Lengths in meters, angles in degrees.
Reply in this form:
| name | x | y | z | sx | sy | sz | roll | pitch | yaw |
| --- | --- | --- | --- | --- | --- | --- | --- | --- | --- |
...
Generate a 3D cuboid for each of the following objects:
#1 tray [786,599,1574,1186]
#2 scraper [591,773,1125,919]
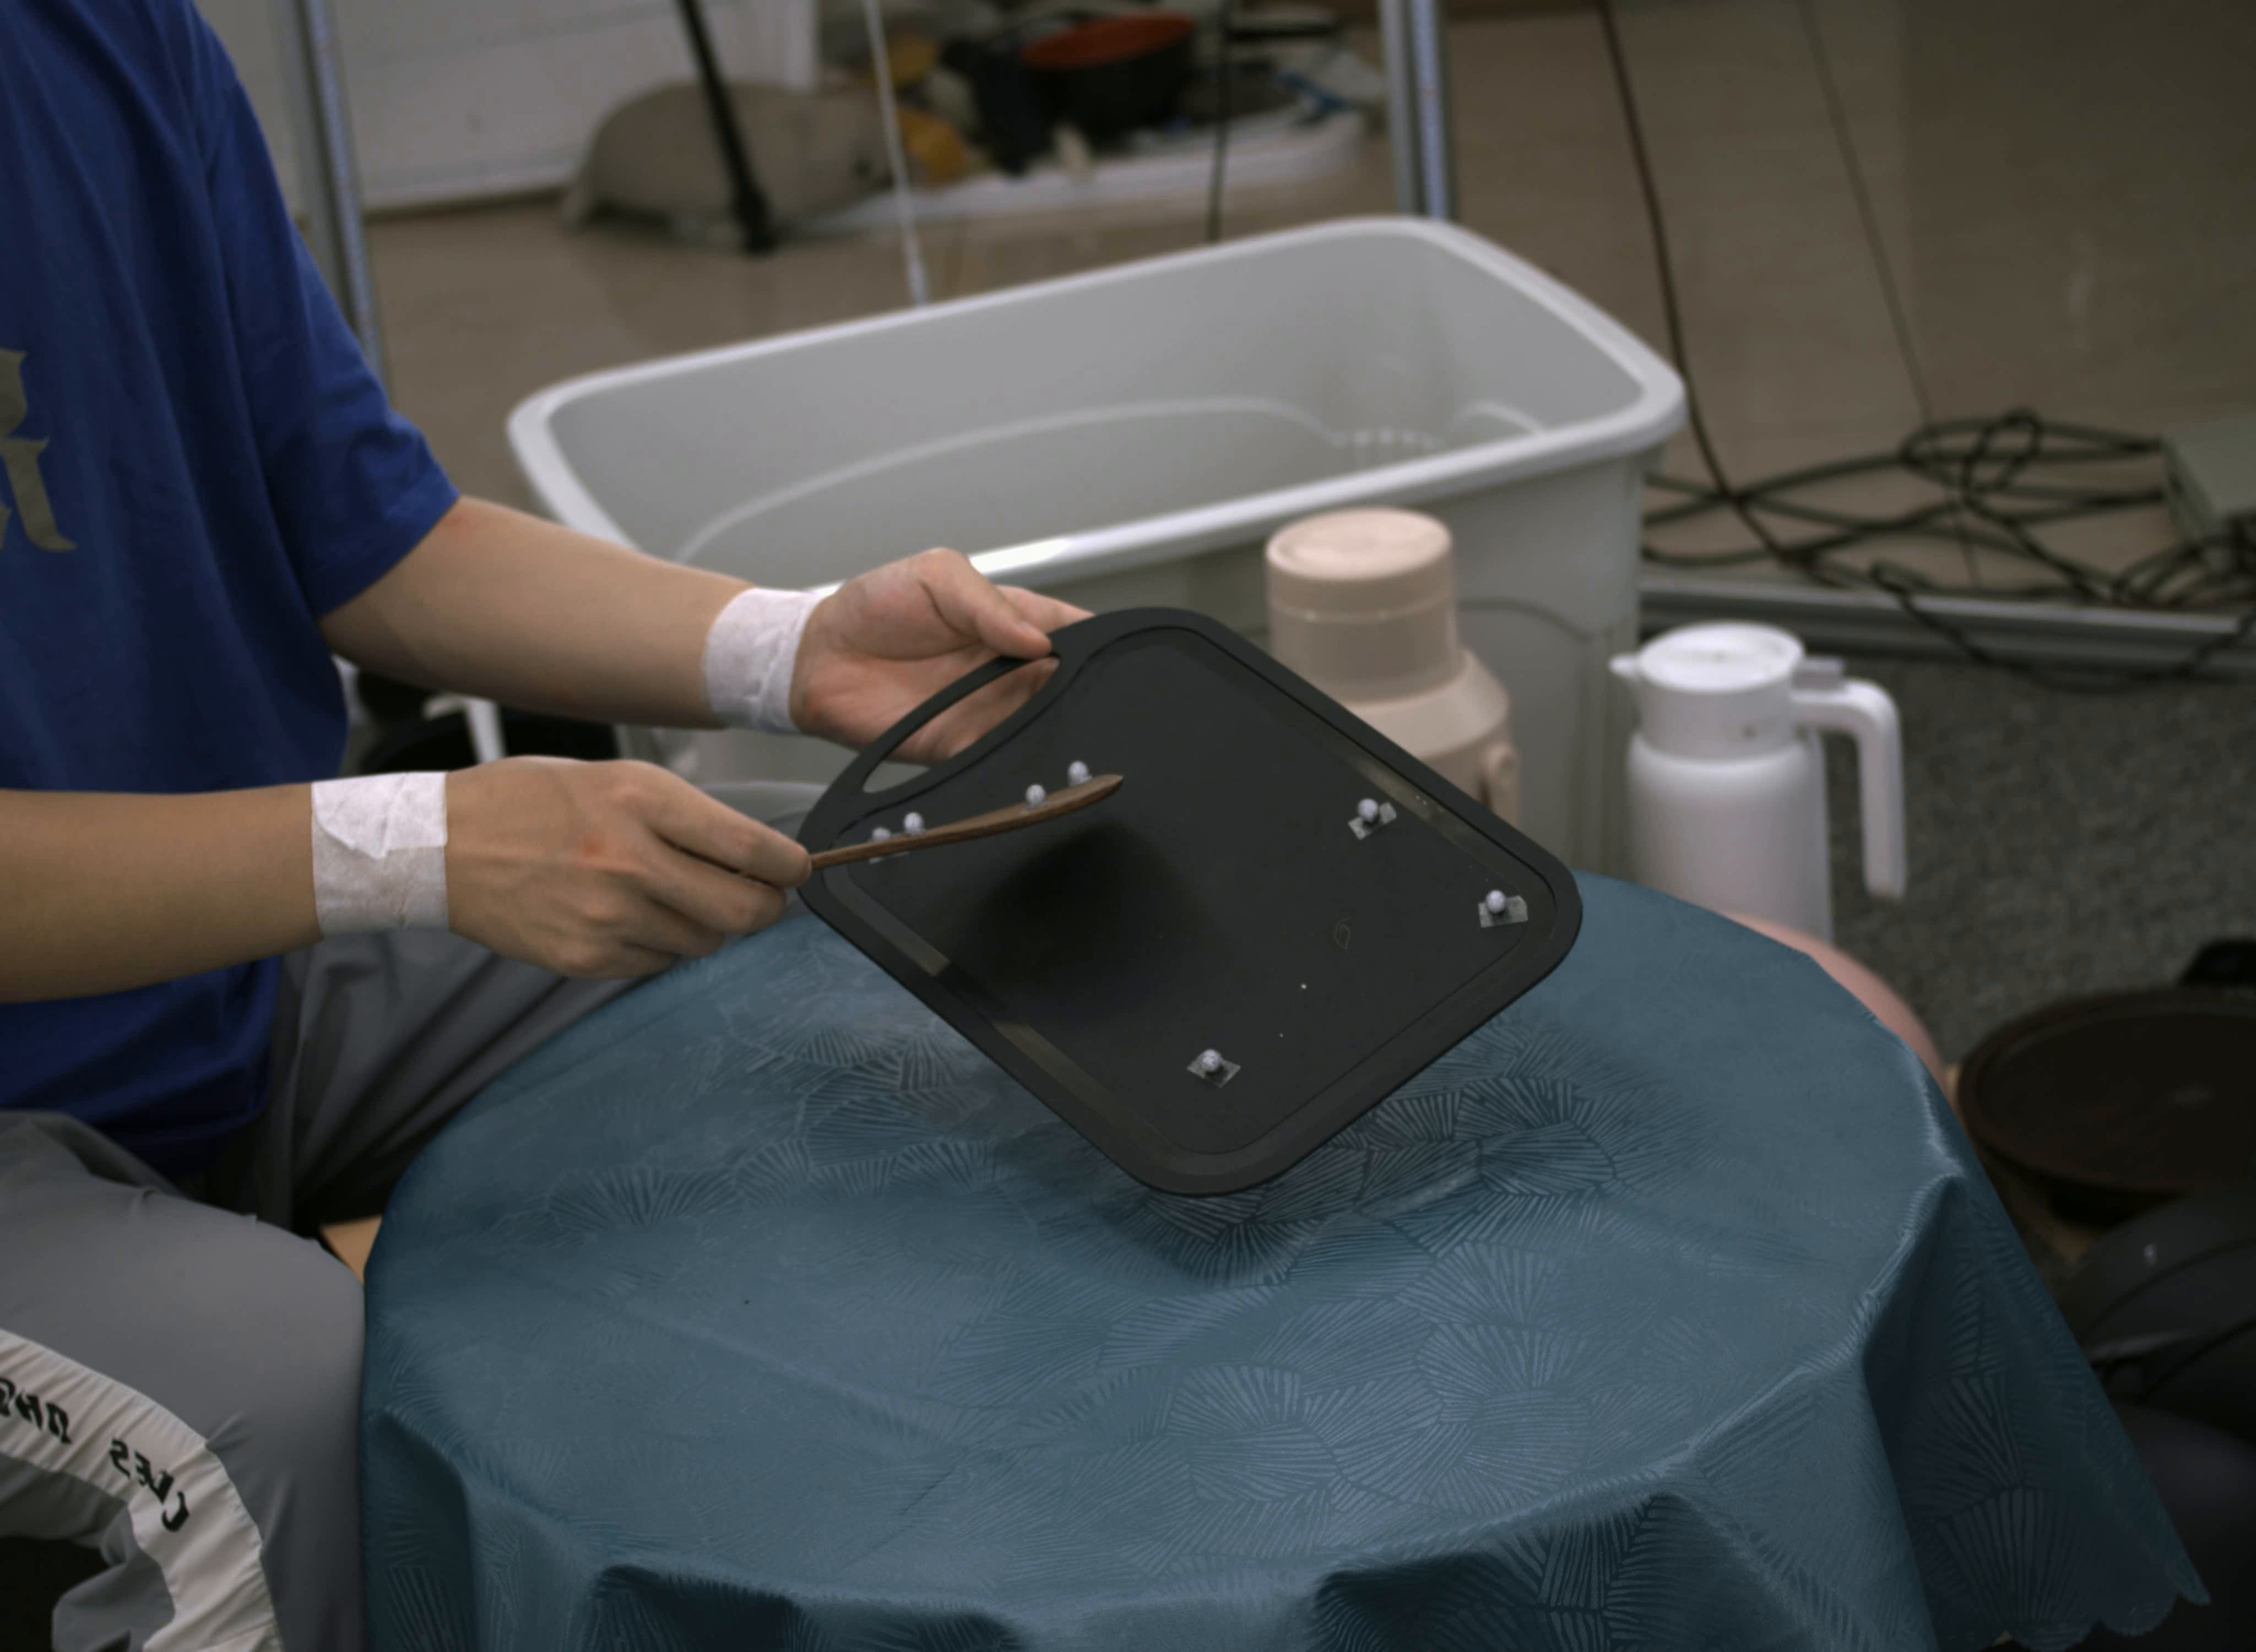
| name | x | y | z | sx | sy | sz | roll | pitch | yaw |
| --- | --- | --- | --- | --- | --- | --- | --- | --- | --- |
| tray | 0.010 | 0.016 | 2.198 | 0.210 | 0.010 | 0.321 | -36 | 45 | -17 |
| scraper | -0.104 | 0.009 | 2.178 | 0.211 | 0.011 | 0.076 | -14 | 2 | -6 |
